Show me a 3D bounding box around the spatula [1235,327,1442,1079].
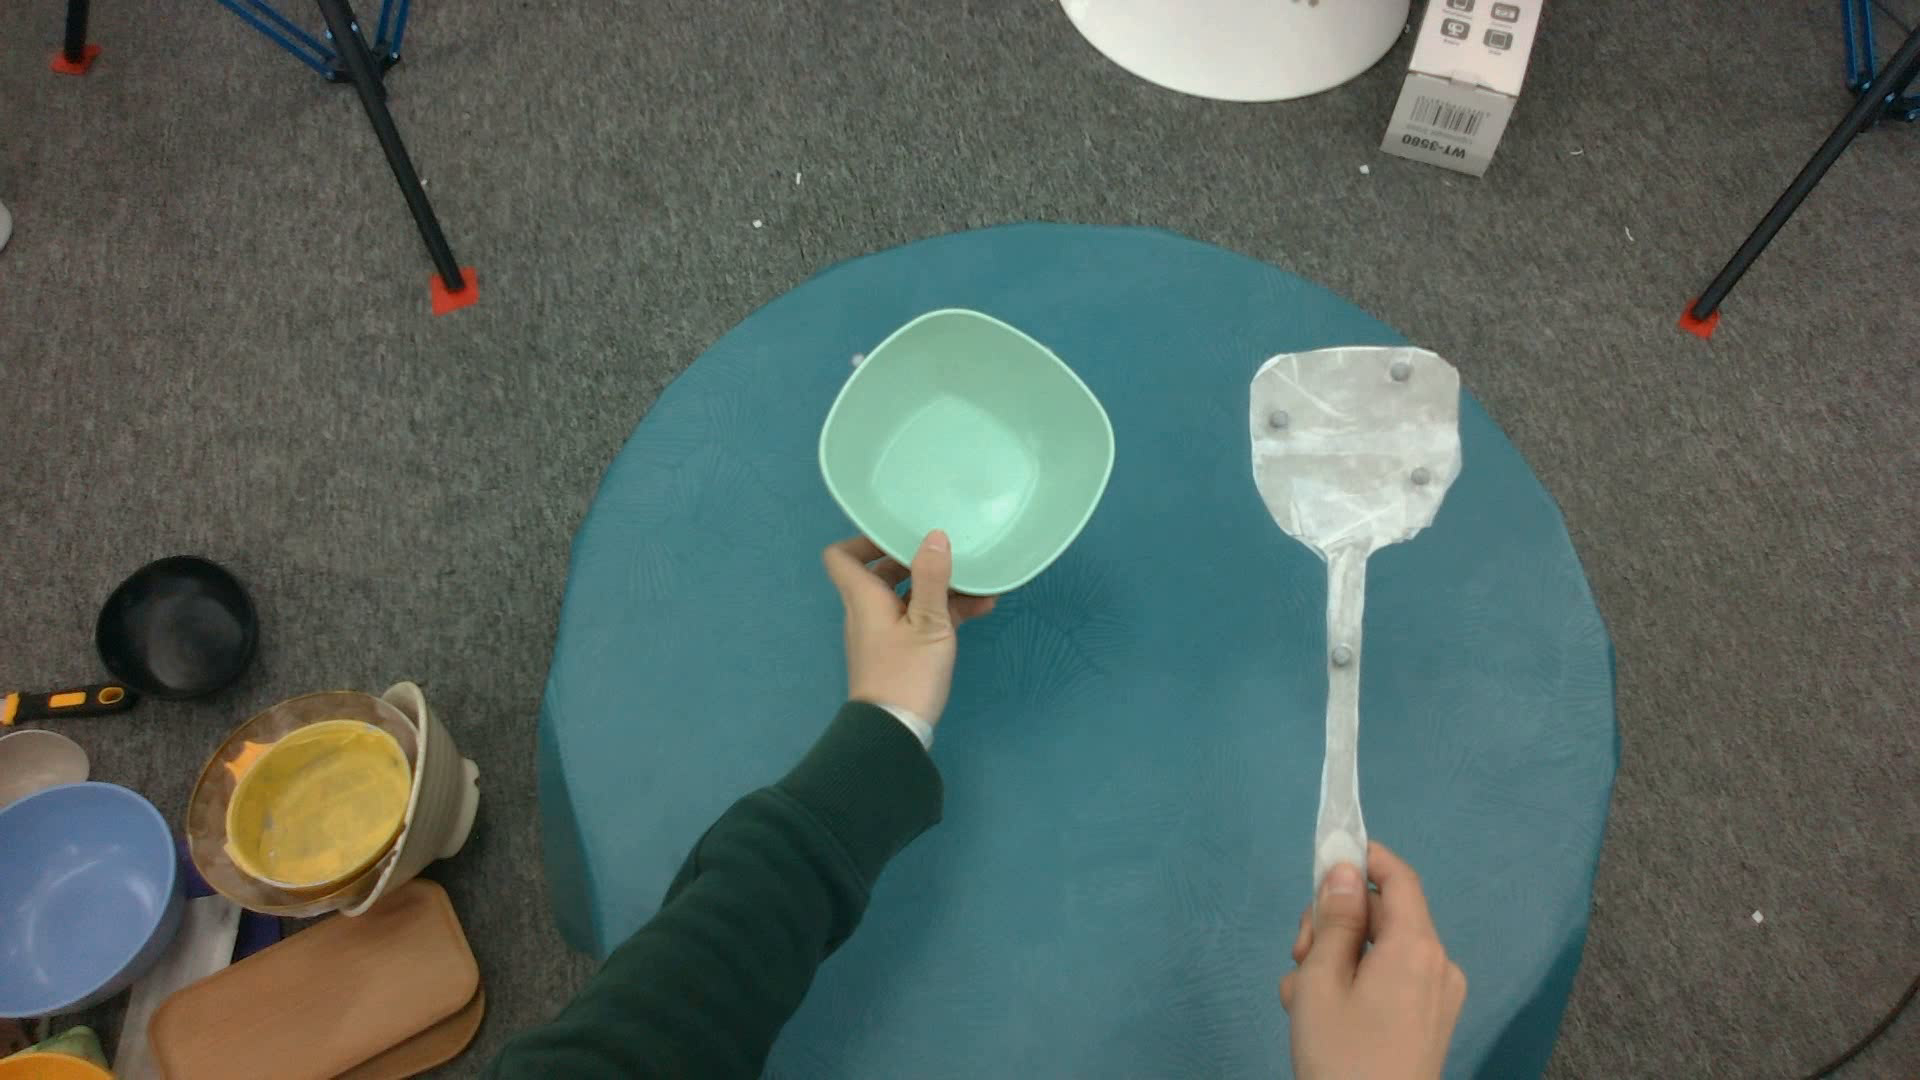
[{"bbox_3d":[0.161,0.065,0.612,0.098,0.044,0.366,3,61,15],"label":"spatula"}]

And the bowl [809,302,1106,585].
[{"bbox_3d":[-0.004,-0.043,0.715,0.151,0.058,0.152,3,72,-8],"label":"bowl"}]
